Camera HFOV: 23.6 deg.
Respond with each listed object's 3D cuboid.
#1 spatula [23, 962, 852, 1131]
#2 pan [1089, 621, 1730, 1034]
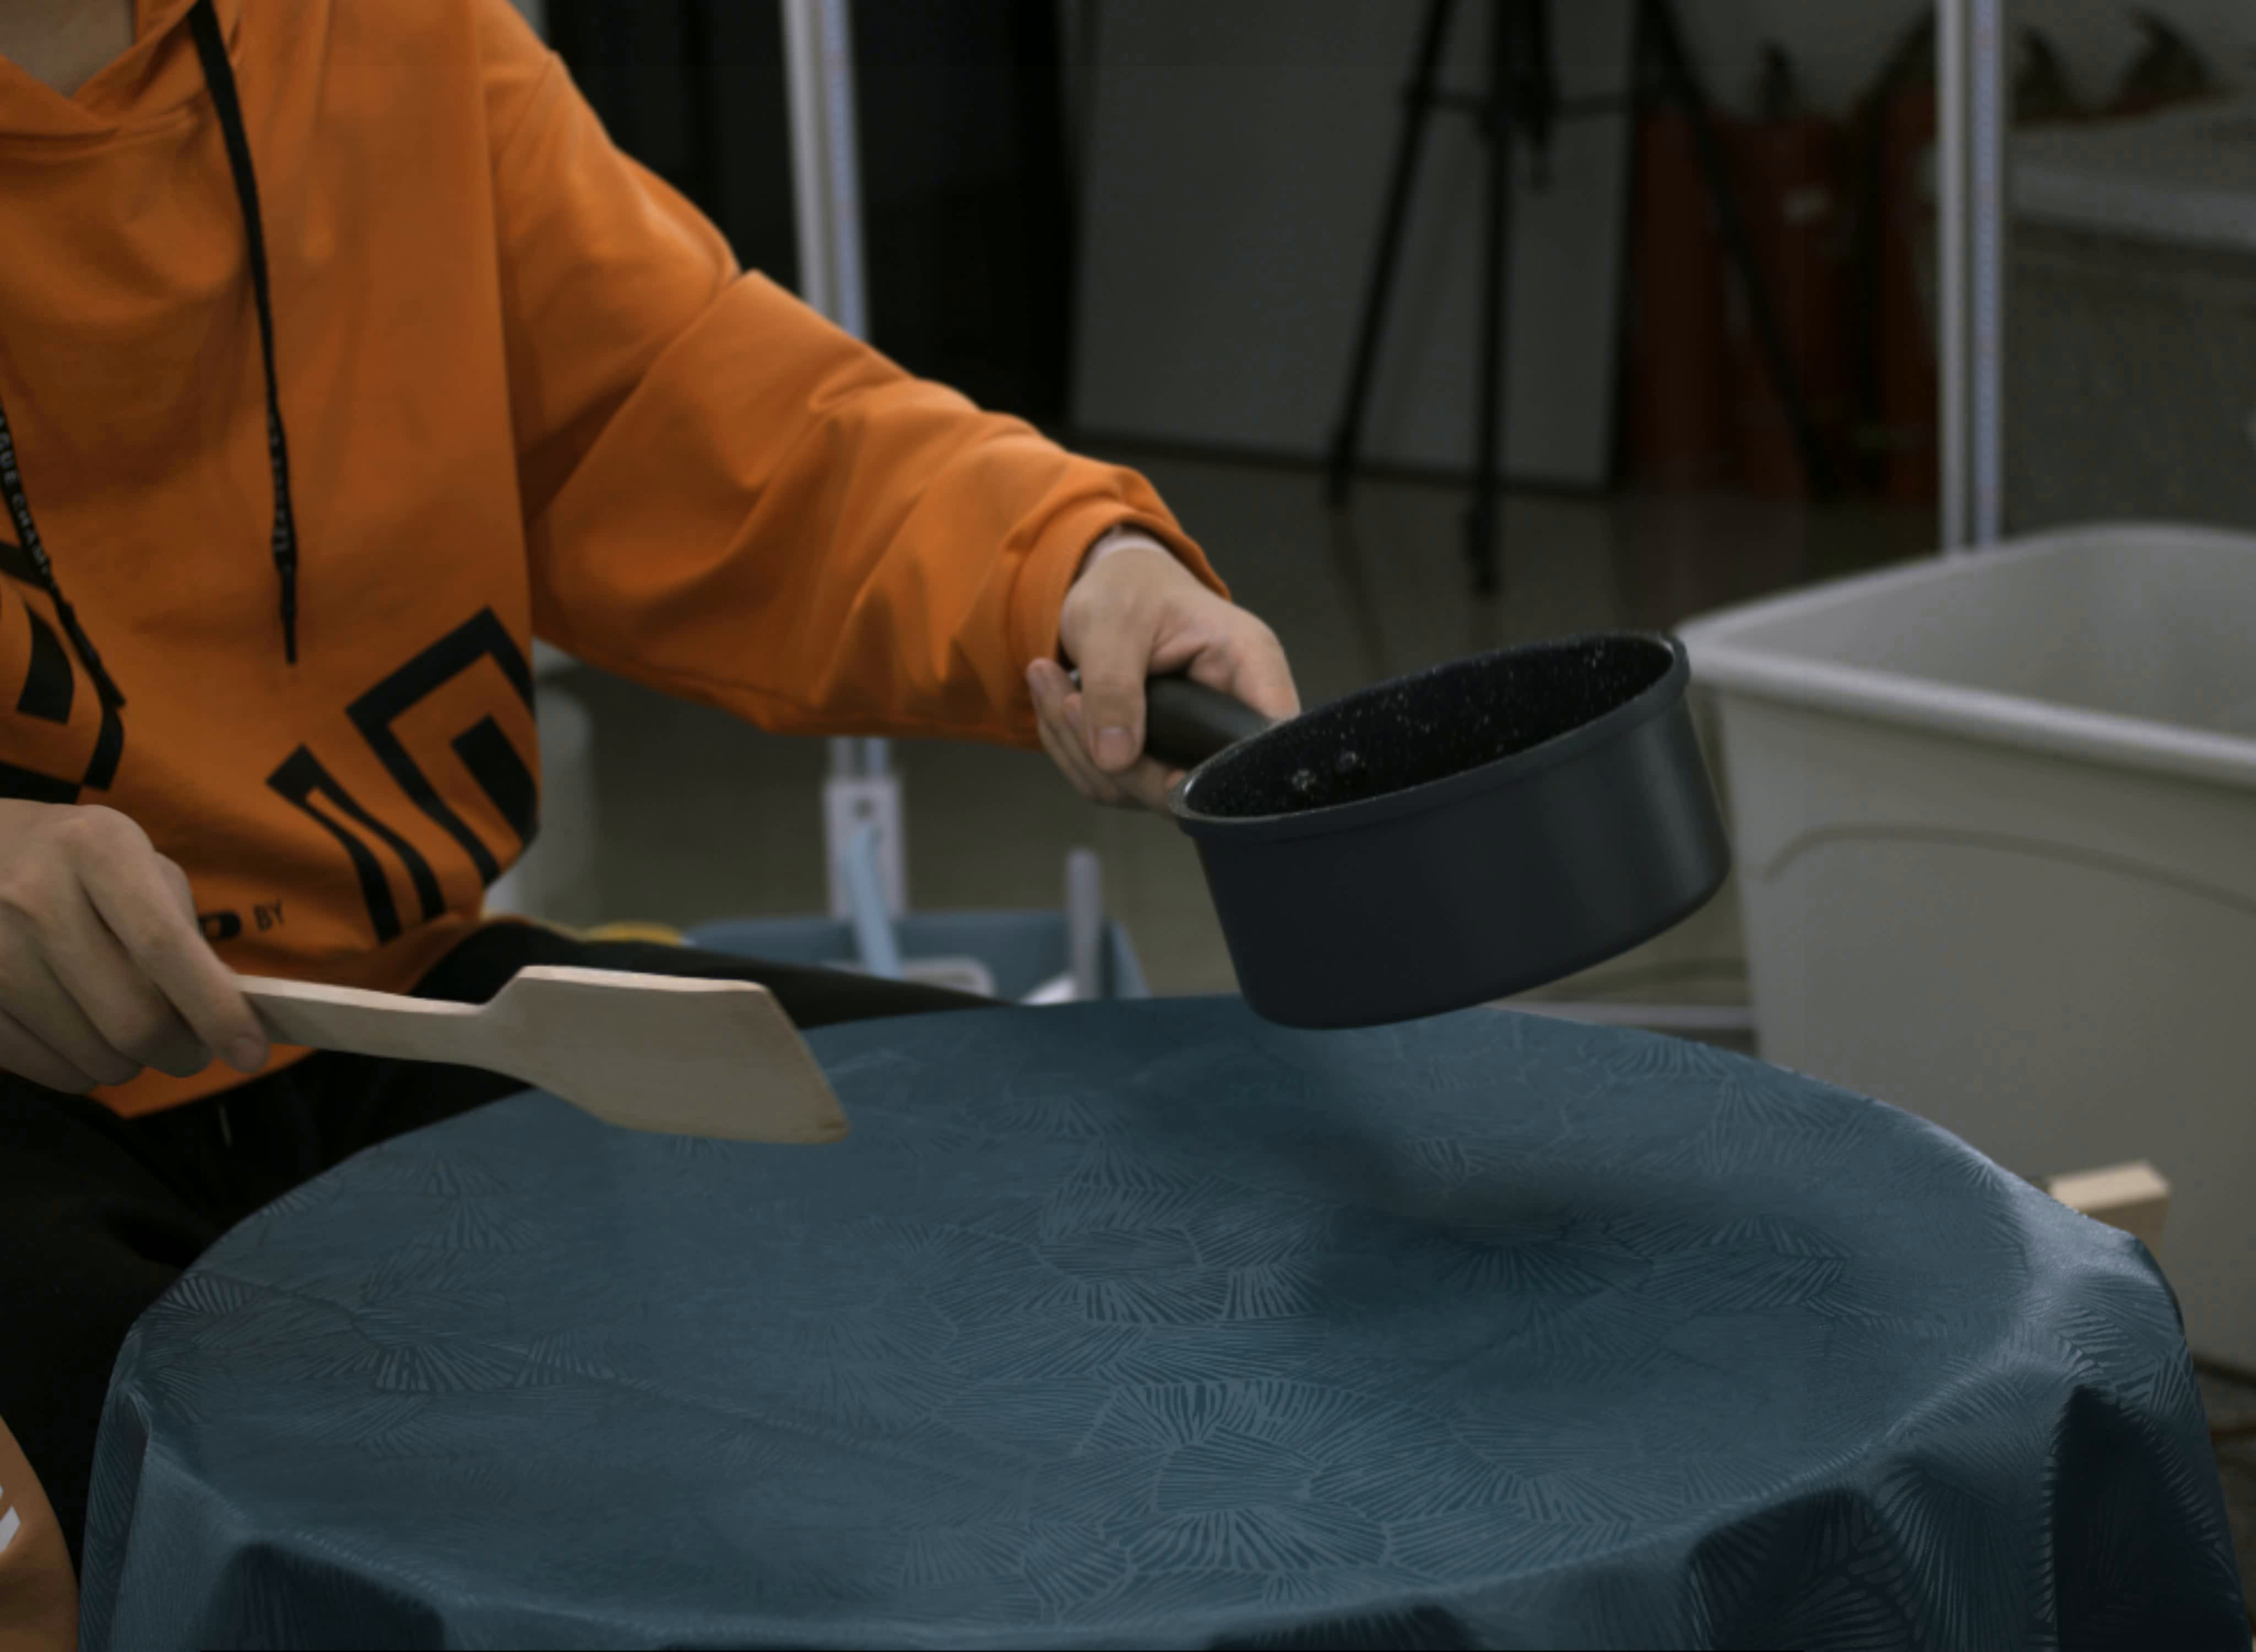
[{"bbox_3d":[-0.213,0.057,1.591,0.294,0.072,0.010,3,51,33],"label":"spatula"},{"bbox_3d":[0.071,-0.007,1.771,0.169,0.087,0.332,-21,13,-20],"label":"pan"}]
